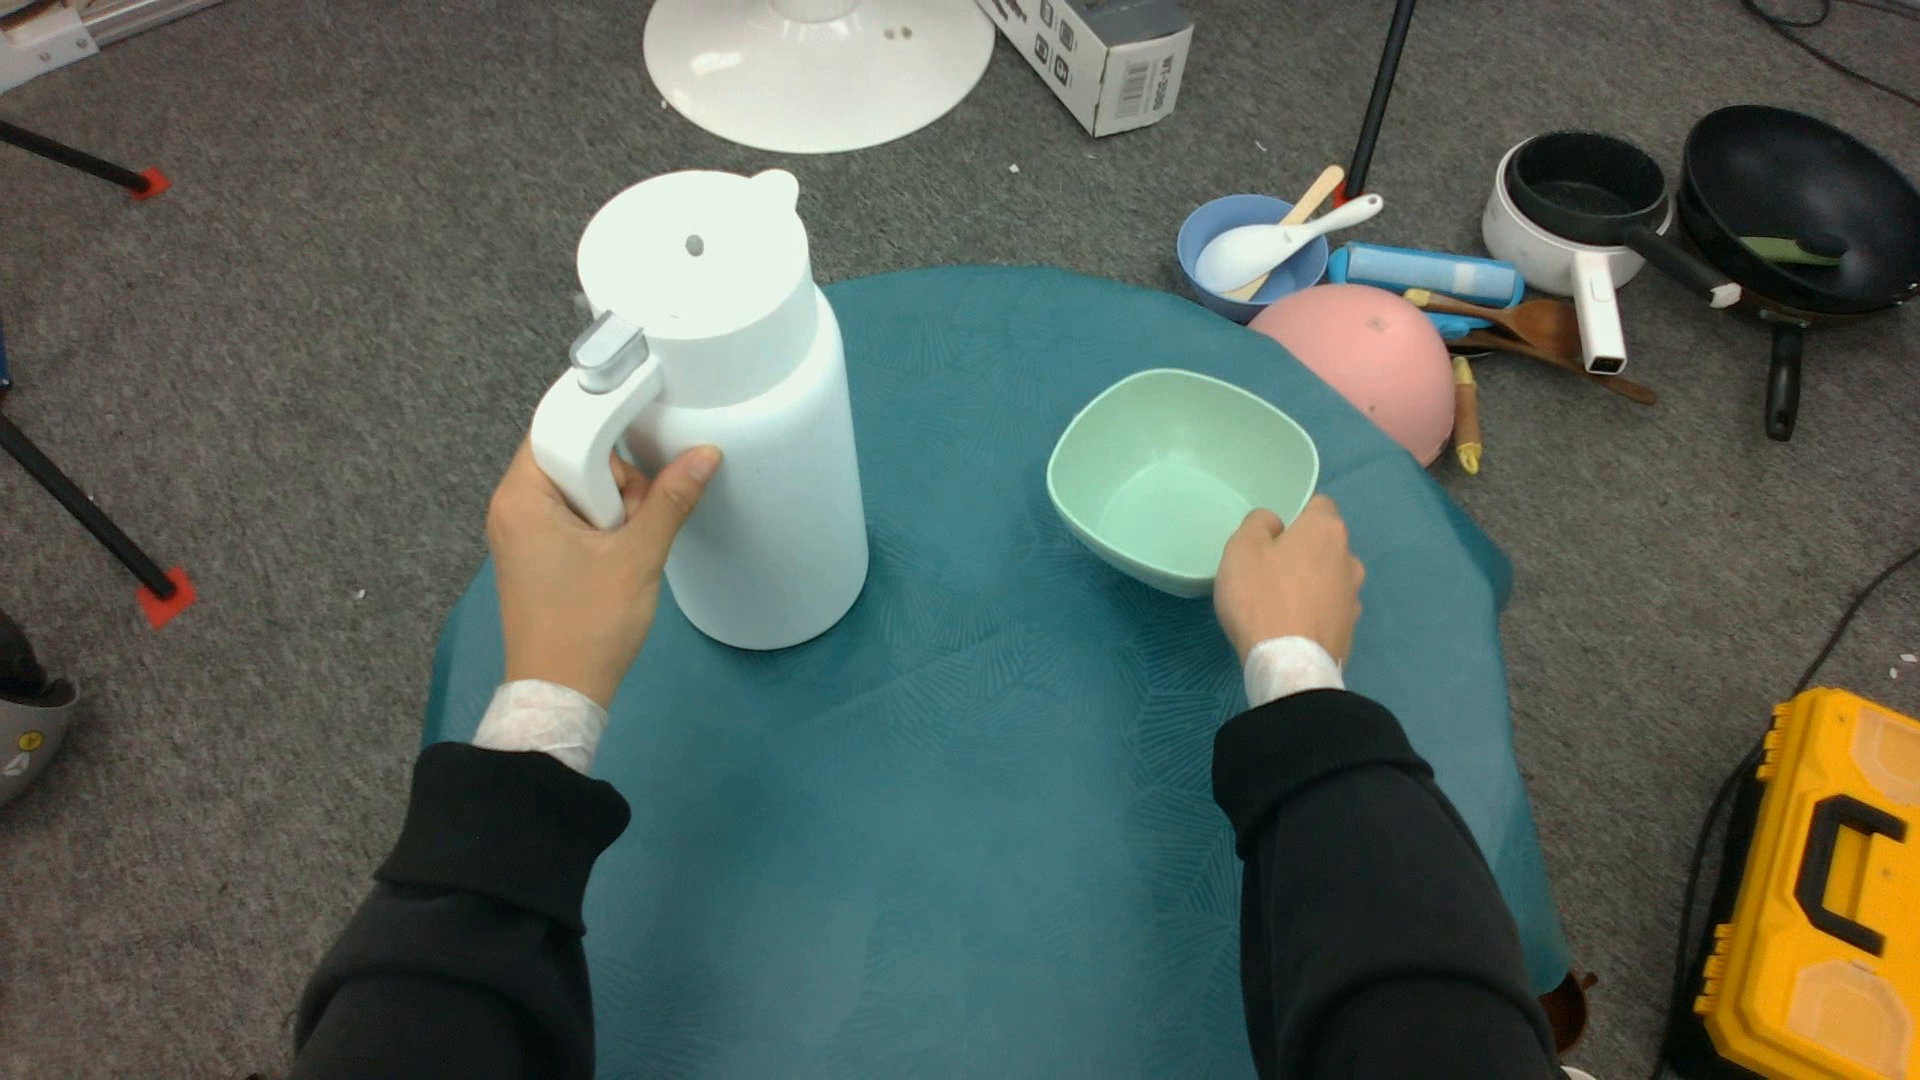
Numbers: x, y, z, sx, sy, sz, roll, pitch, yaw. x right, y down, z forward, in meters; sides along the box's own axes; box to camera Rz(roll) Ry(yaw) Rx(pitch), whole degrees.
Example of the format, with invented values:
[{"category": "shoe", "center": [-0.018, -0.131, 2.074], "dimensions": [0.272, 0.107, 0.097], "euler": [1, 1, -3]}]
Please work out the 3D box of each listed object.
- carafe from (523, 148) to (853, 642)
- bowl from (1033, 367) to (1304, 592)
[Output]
[{"category": "carafe", "center": [-0.129, -0.046, 0.696], "dimensions": [0.124, 0.267, 0.173], "euler": [27, 61, 14]}, {"category": "bowl", "center": [0.117, -0.026, 0.785], "dimensions": [0.151, 0.058, 0.152], "euler": [-1, 52, 2]}]
